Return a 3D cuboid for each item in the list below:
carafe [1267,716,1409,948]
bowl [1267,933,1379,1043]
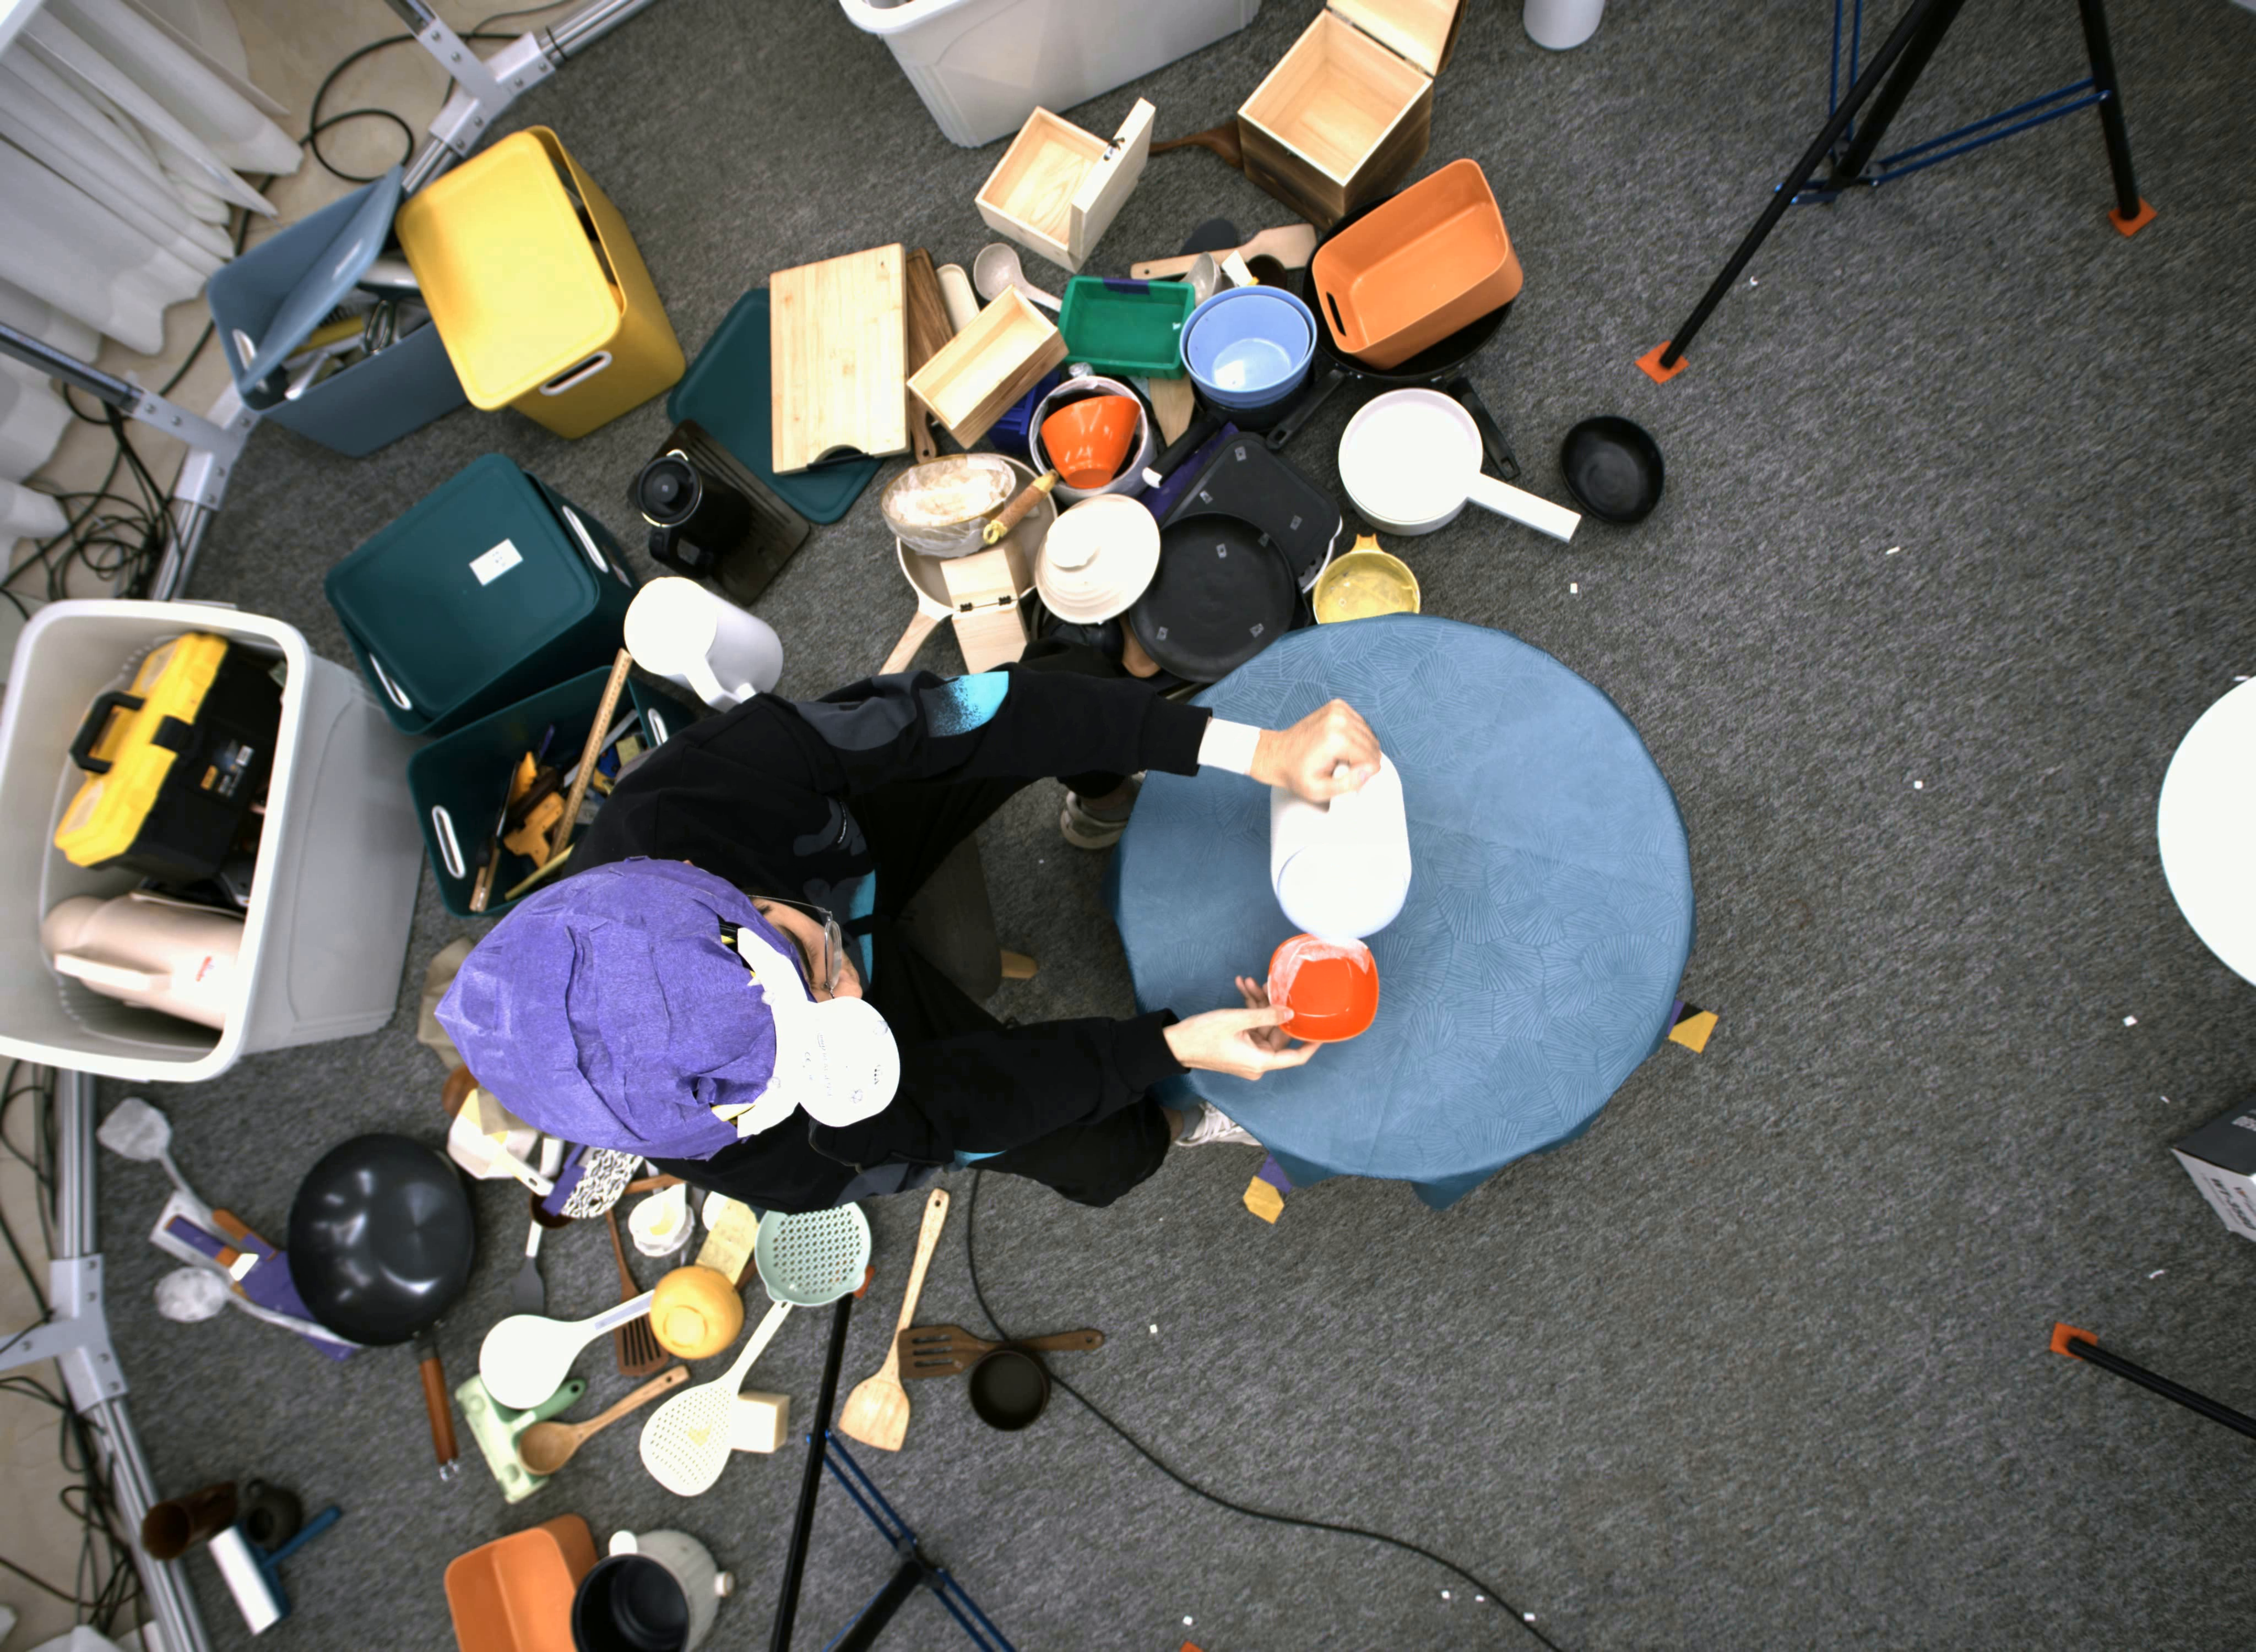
[{"bbox_3d":[0.197,-0.009,1.309,0.132,0.177,0.195,-2,127,7],"label":"carafe"},{"bbox_3d":[0.194,0.160,1.393,0.119,0.051,0.119,0,90,3],"label":"bowl"}]
